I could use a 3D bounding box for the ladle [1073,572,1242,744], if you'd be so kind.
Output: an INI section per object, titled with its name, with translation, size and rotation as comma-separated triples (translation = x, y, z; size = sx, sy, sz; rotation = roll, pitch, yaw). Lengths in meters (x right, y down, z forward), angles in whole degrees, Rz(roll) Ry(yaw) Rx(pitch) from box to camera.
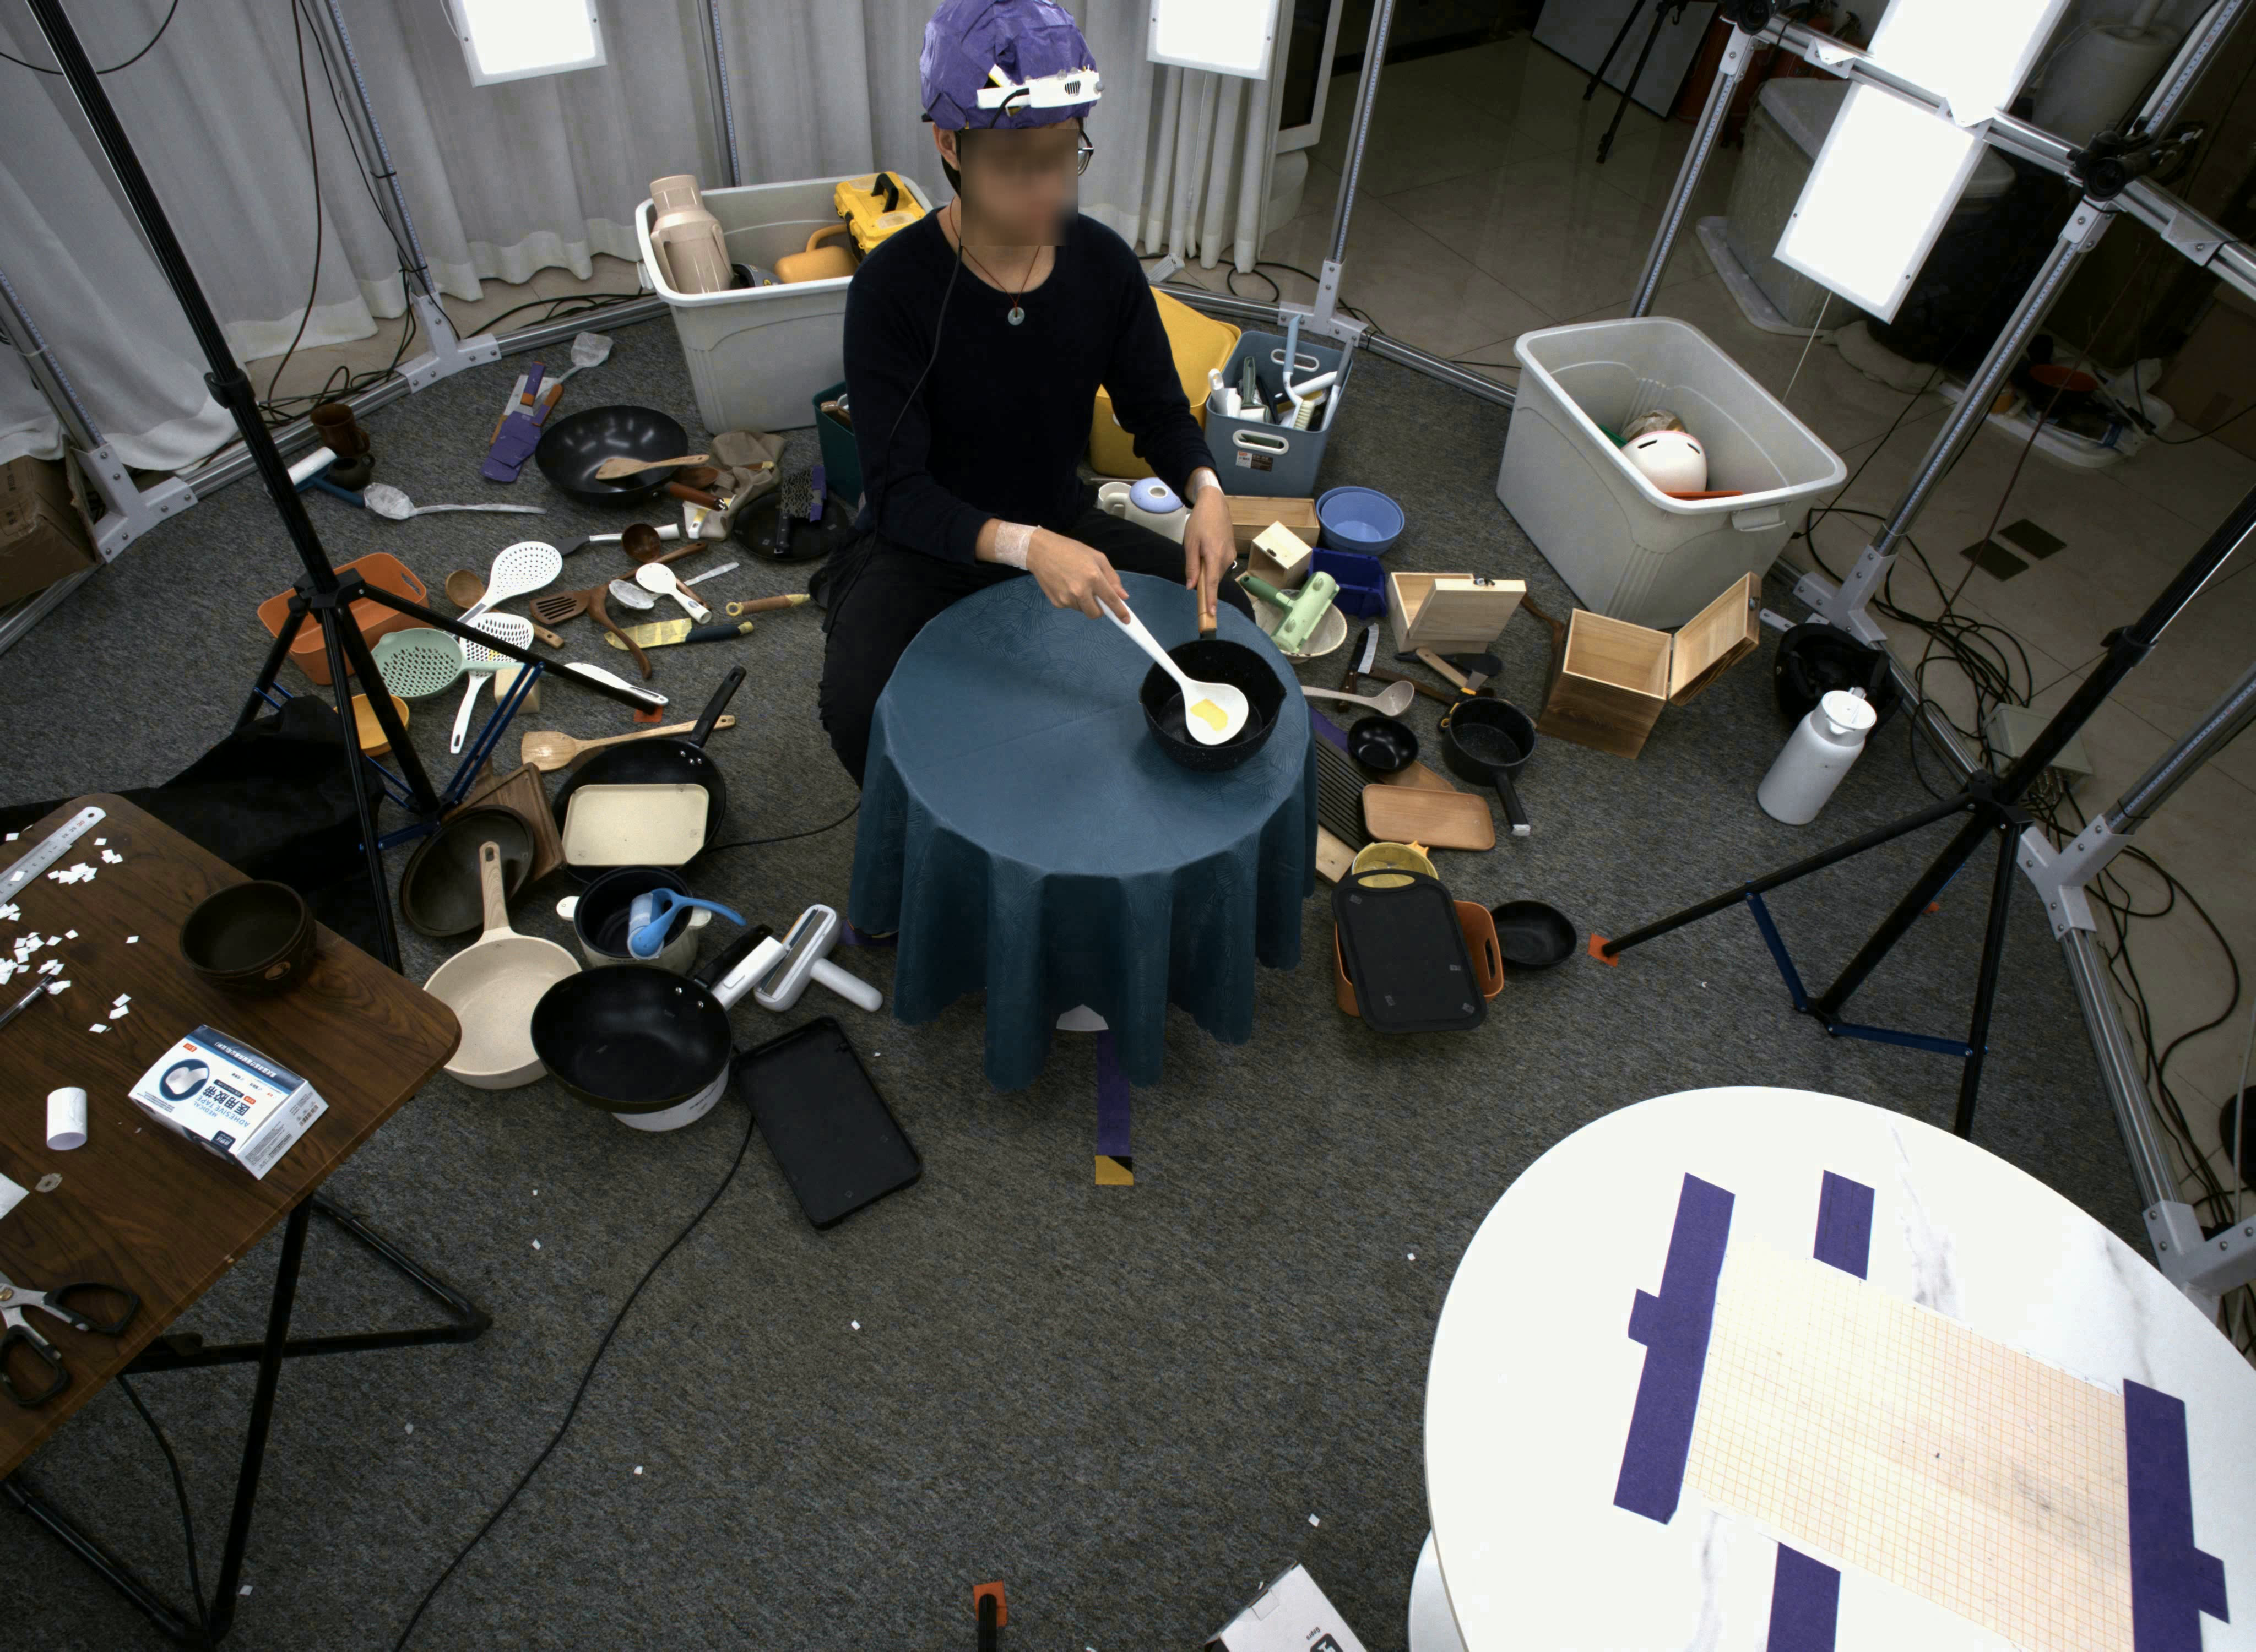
[ladle]
translation = 0.037, -0.221, 1.714
size = 0.090, 0.288, 0.071
rotation = -42, 24, 9

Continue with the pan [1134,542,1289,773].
[pan]
translation = 0.110, -0.232, 1.780
size = 0.207, 0.106, 0.351
rotation = -3, 58, 1
